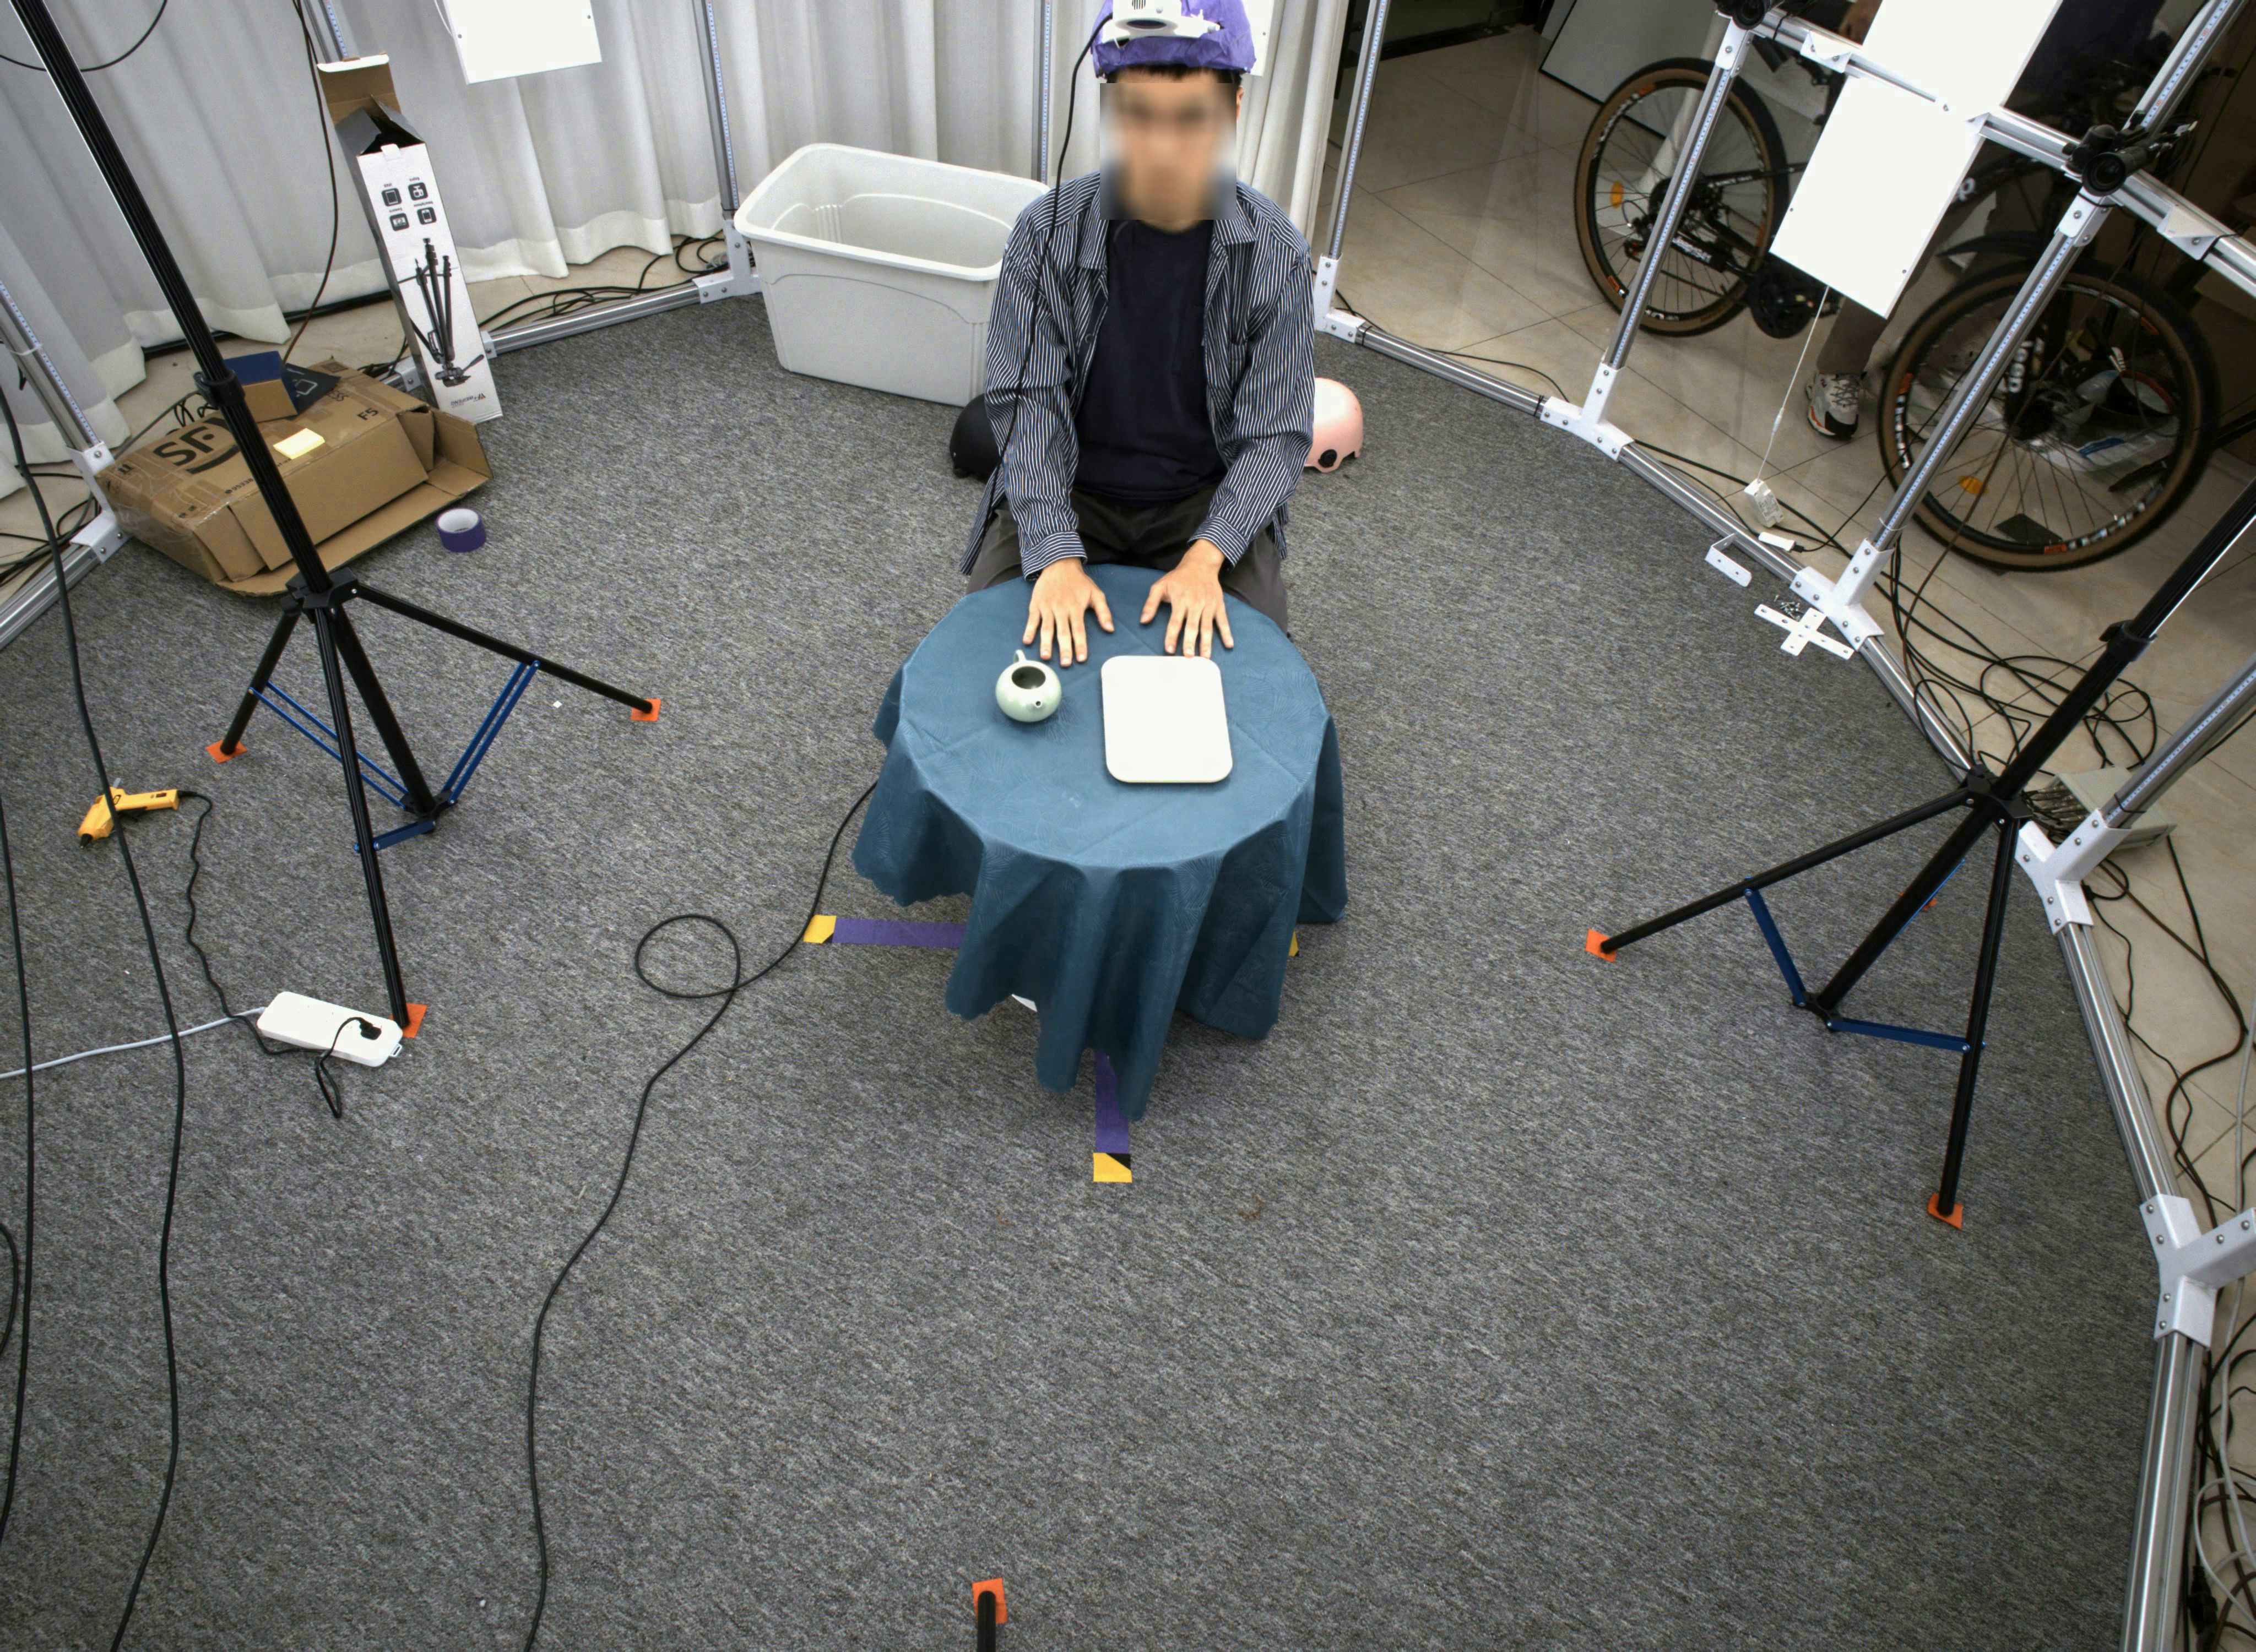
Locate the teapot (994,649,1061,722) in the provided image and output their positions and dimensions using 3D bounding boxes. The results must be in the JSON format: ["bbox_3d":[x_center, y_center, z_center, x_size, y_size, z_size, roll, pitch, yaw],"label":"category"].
[{"bbox_3d":[-0.140,-0.193,1.777,0.091,0.059,0.132,-8,50,-10],"label":"teapot"}]

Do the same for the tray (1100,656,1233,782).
[{"bbox_3d":[0.050,-0.149,1.781,0.171,0.017,0.246,0,48,-6],"label":"tray"}]
